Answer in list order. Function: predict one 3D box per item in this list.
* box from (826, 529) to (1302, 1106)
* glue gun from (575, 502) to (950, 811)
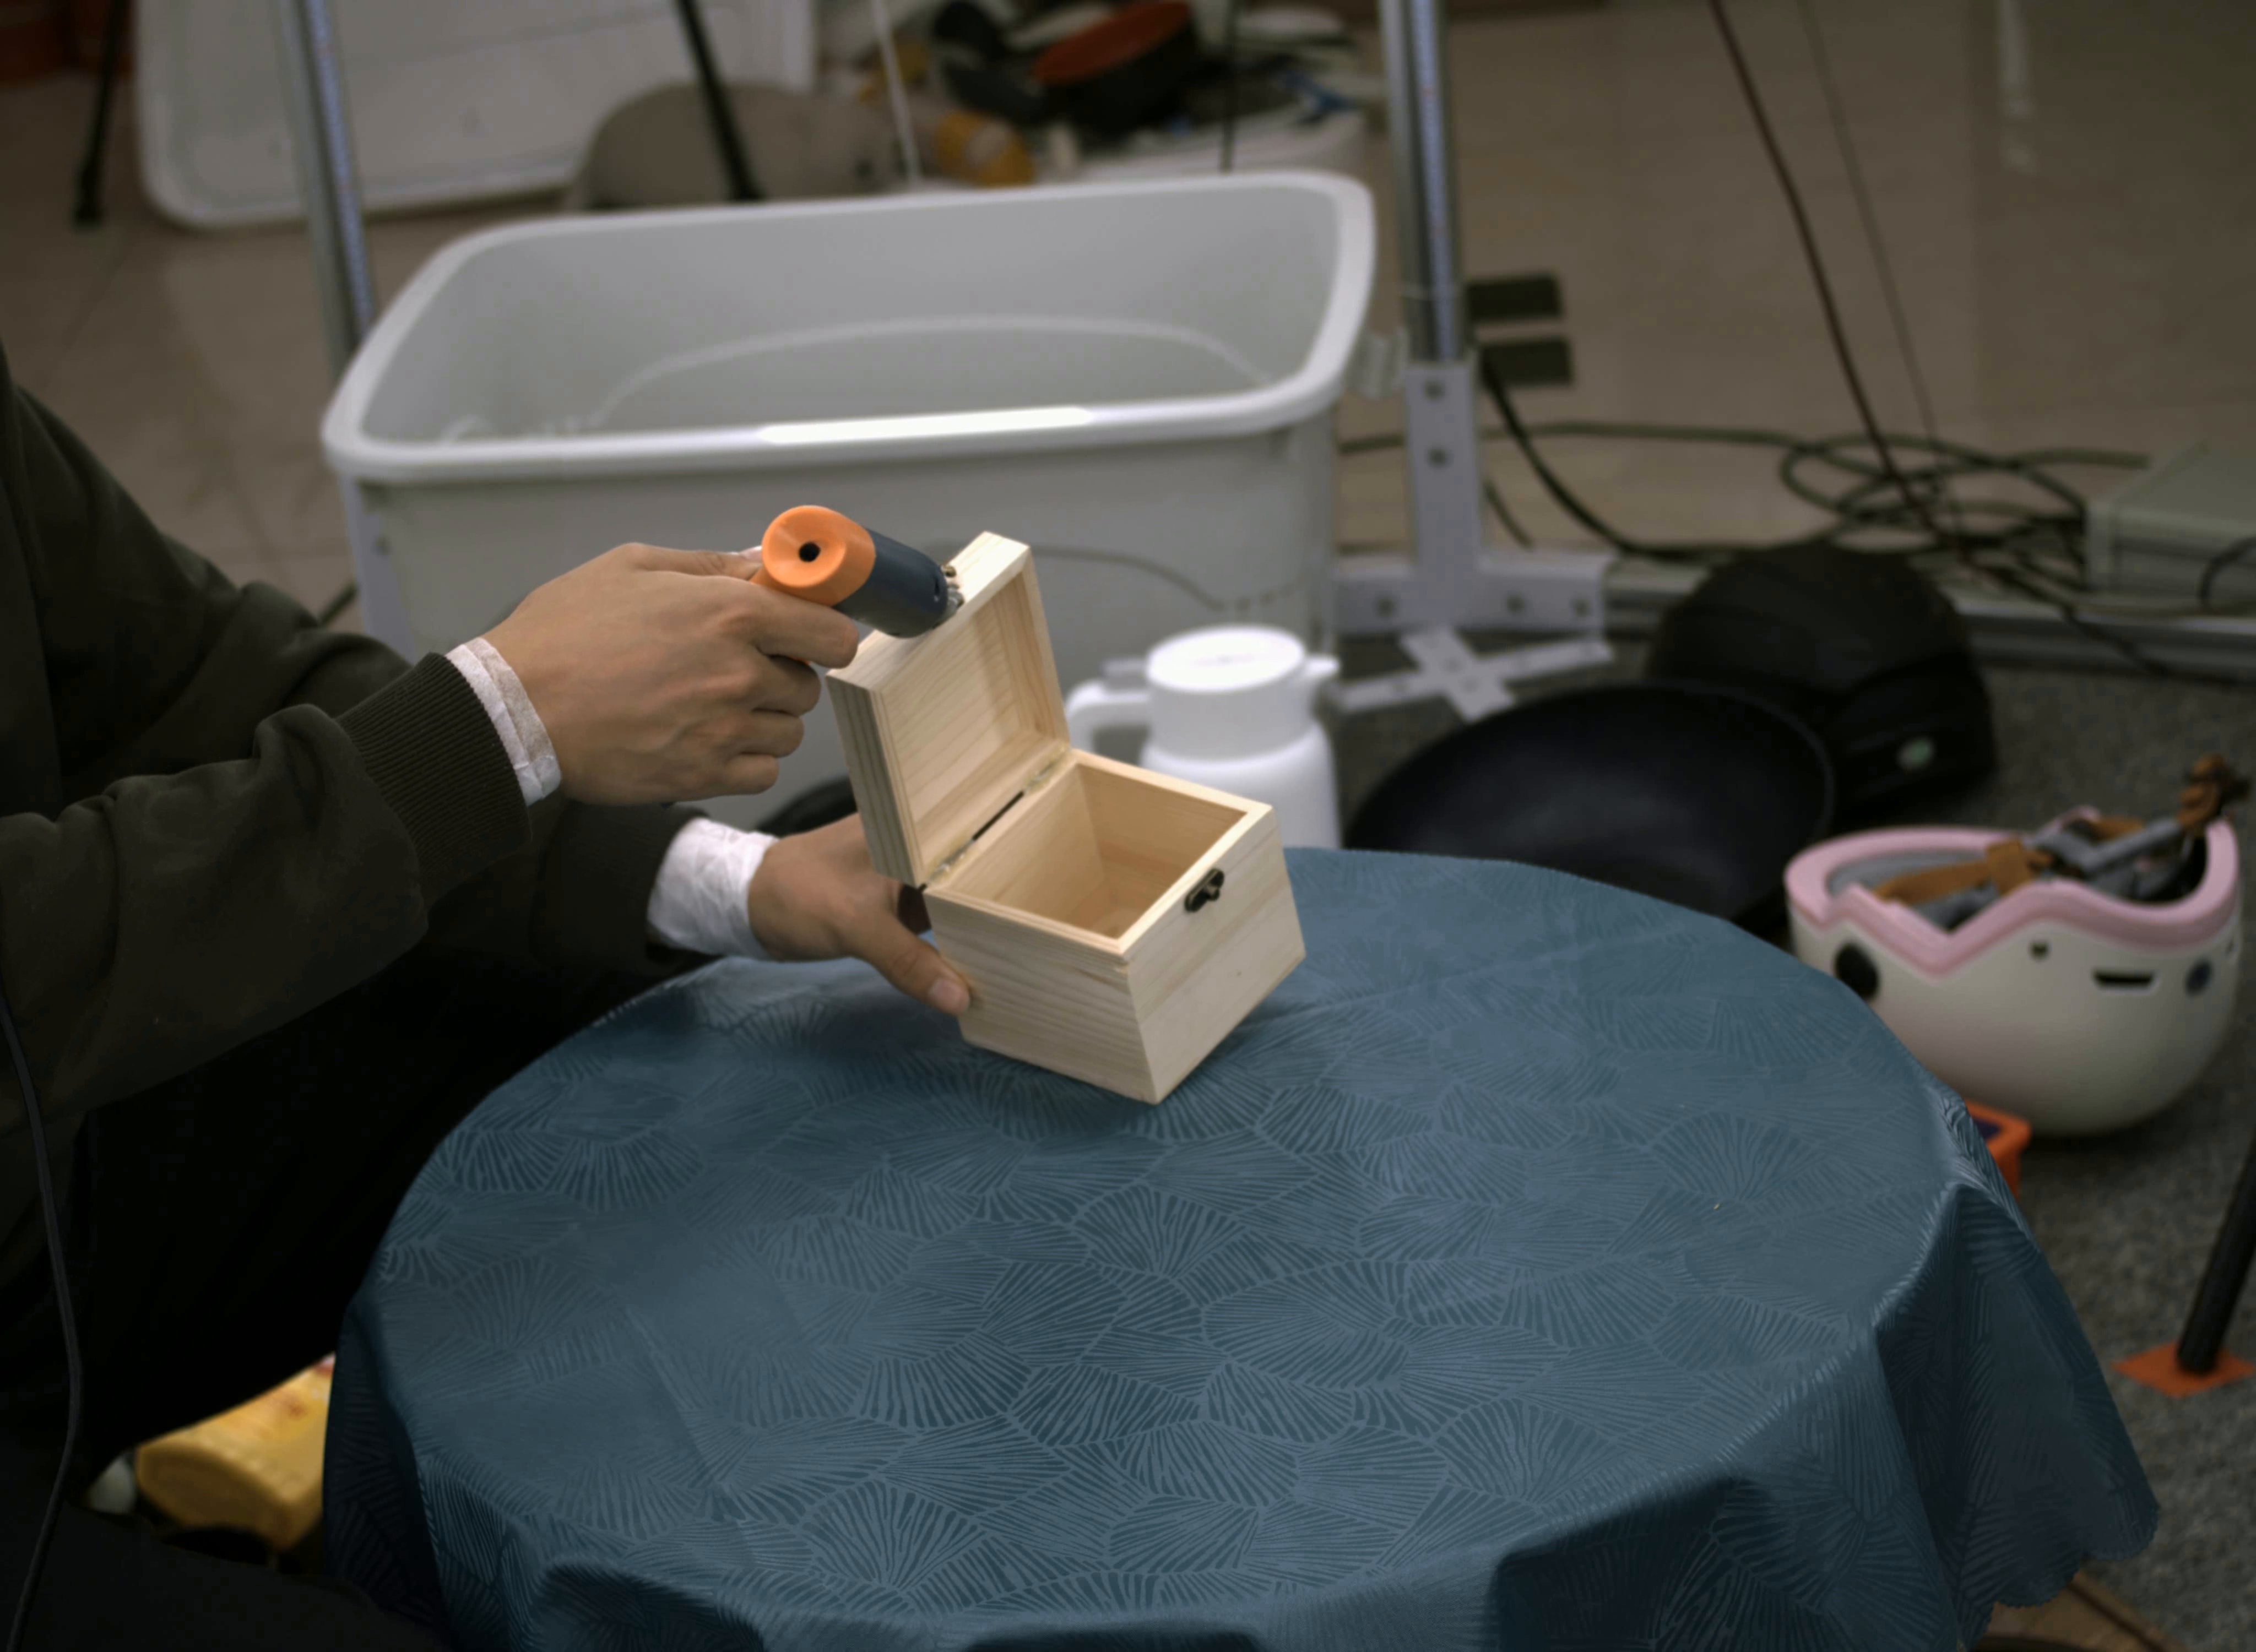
[{"bbox_3d":[-0.022,-0.004,2.215,0.133,0.188,0.101,17,46,34],"label":"box"},{"bbox_3d":[-0.132,-0.067,2.118,0.139,0.119,0.040,-36,69,-3],"label":"glue gun"}]
